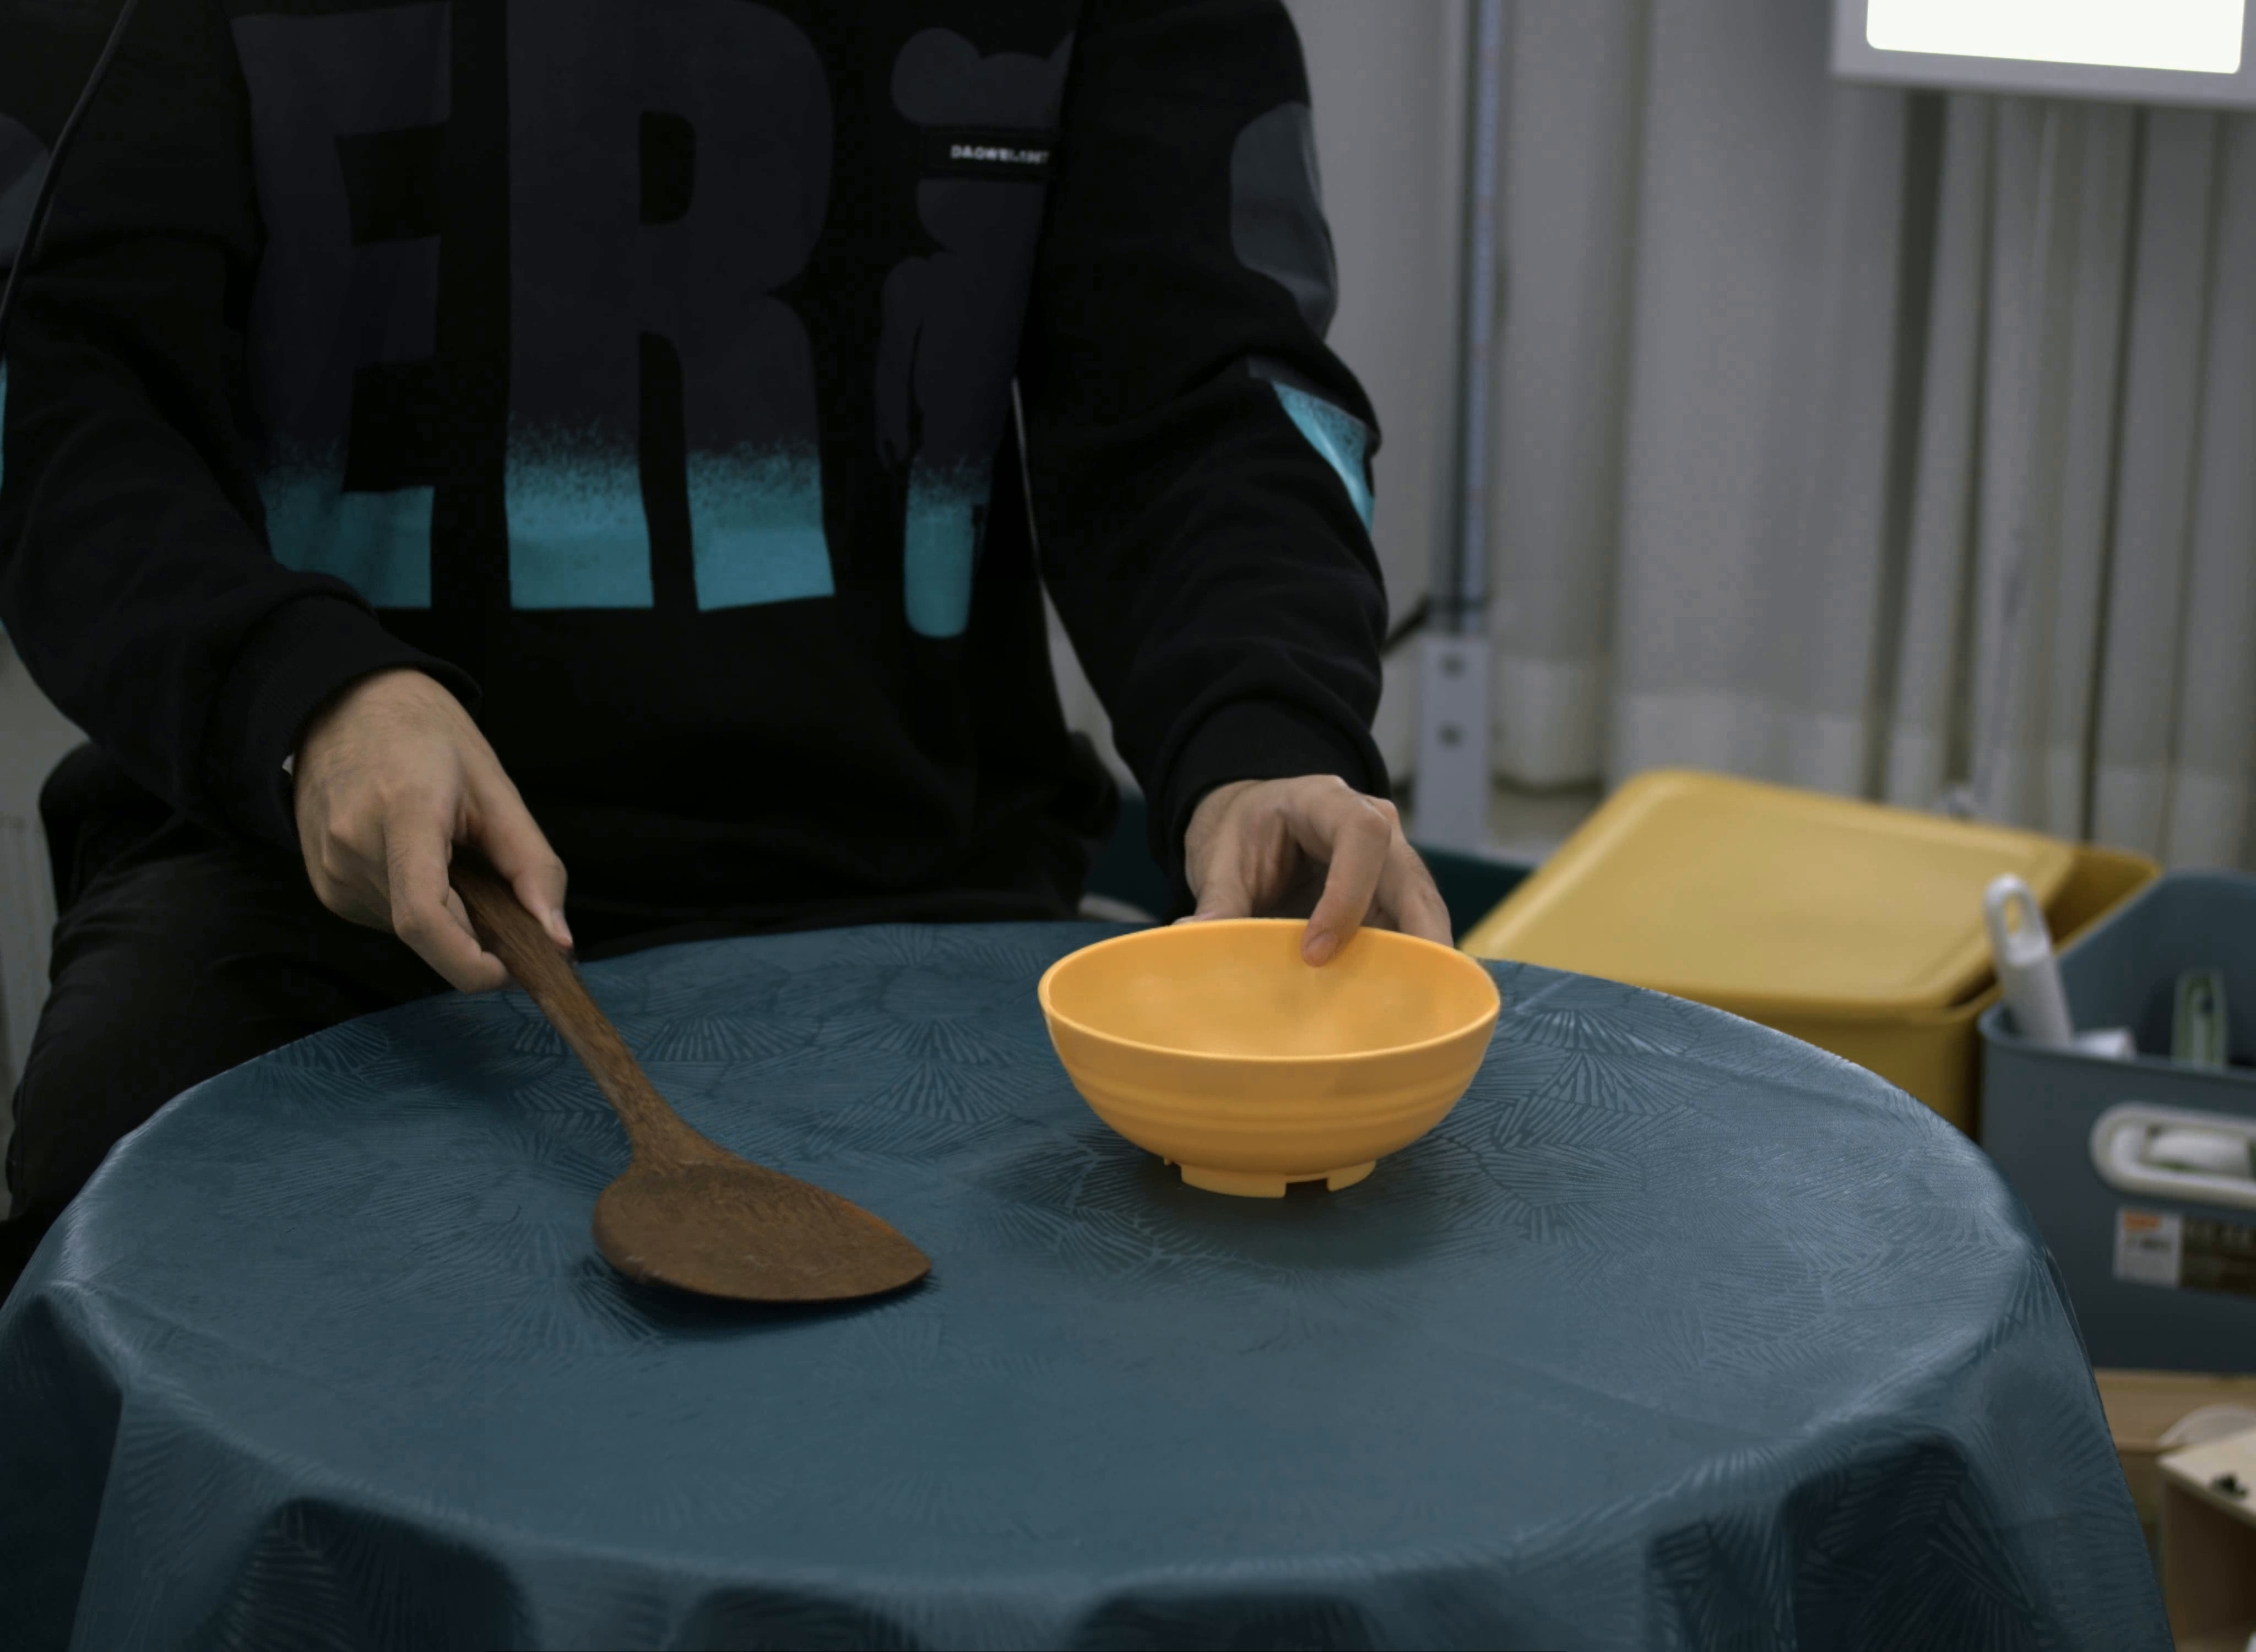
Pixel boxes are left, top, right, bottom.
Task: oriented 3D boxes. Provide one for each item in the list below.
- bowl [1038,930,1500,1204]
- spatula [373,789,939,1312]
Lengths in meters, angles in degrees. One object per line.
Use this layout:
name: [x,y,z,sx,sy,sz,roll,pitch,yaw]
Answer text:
bowl: [0.043,0.079,1.644,0.145,0.060,0.144,2,14,0]
spatula: [-0.171,0.064,1.668,0.096,0.016,0.381,1,23,-28]
